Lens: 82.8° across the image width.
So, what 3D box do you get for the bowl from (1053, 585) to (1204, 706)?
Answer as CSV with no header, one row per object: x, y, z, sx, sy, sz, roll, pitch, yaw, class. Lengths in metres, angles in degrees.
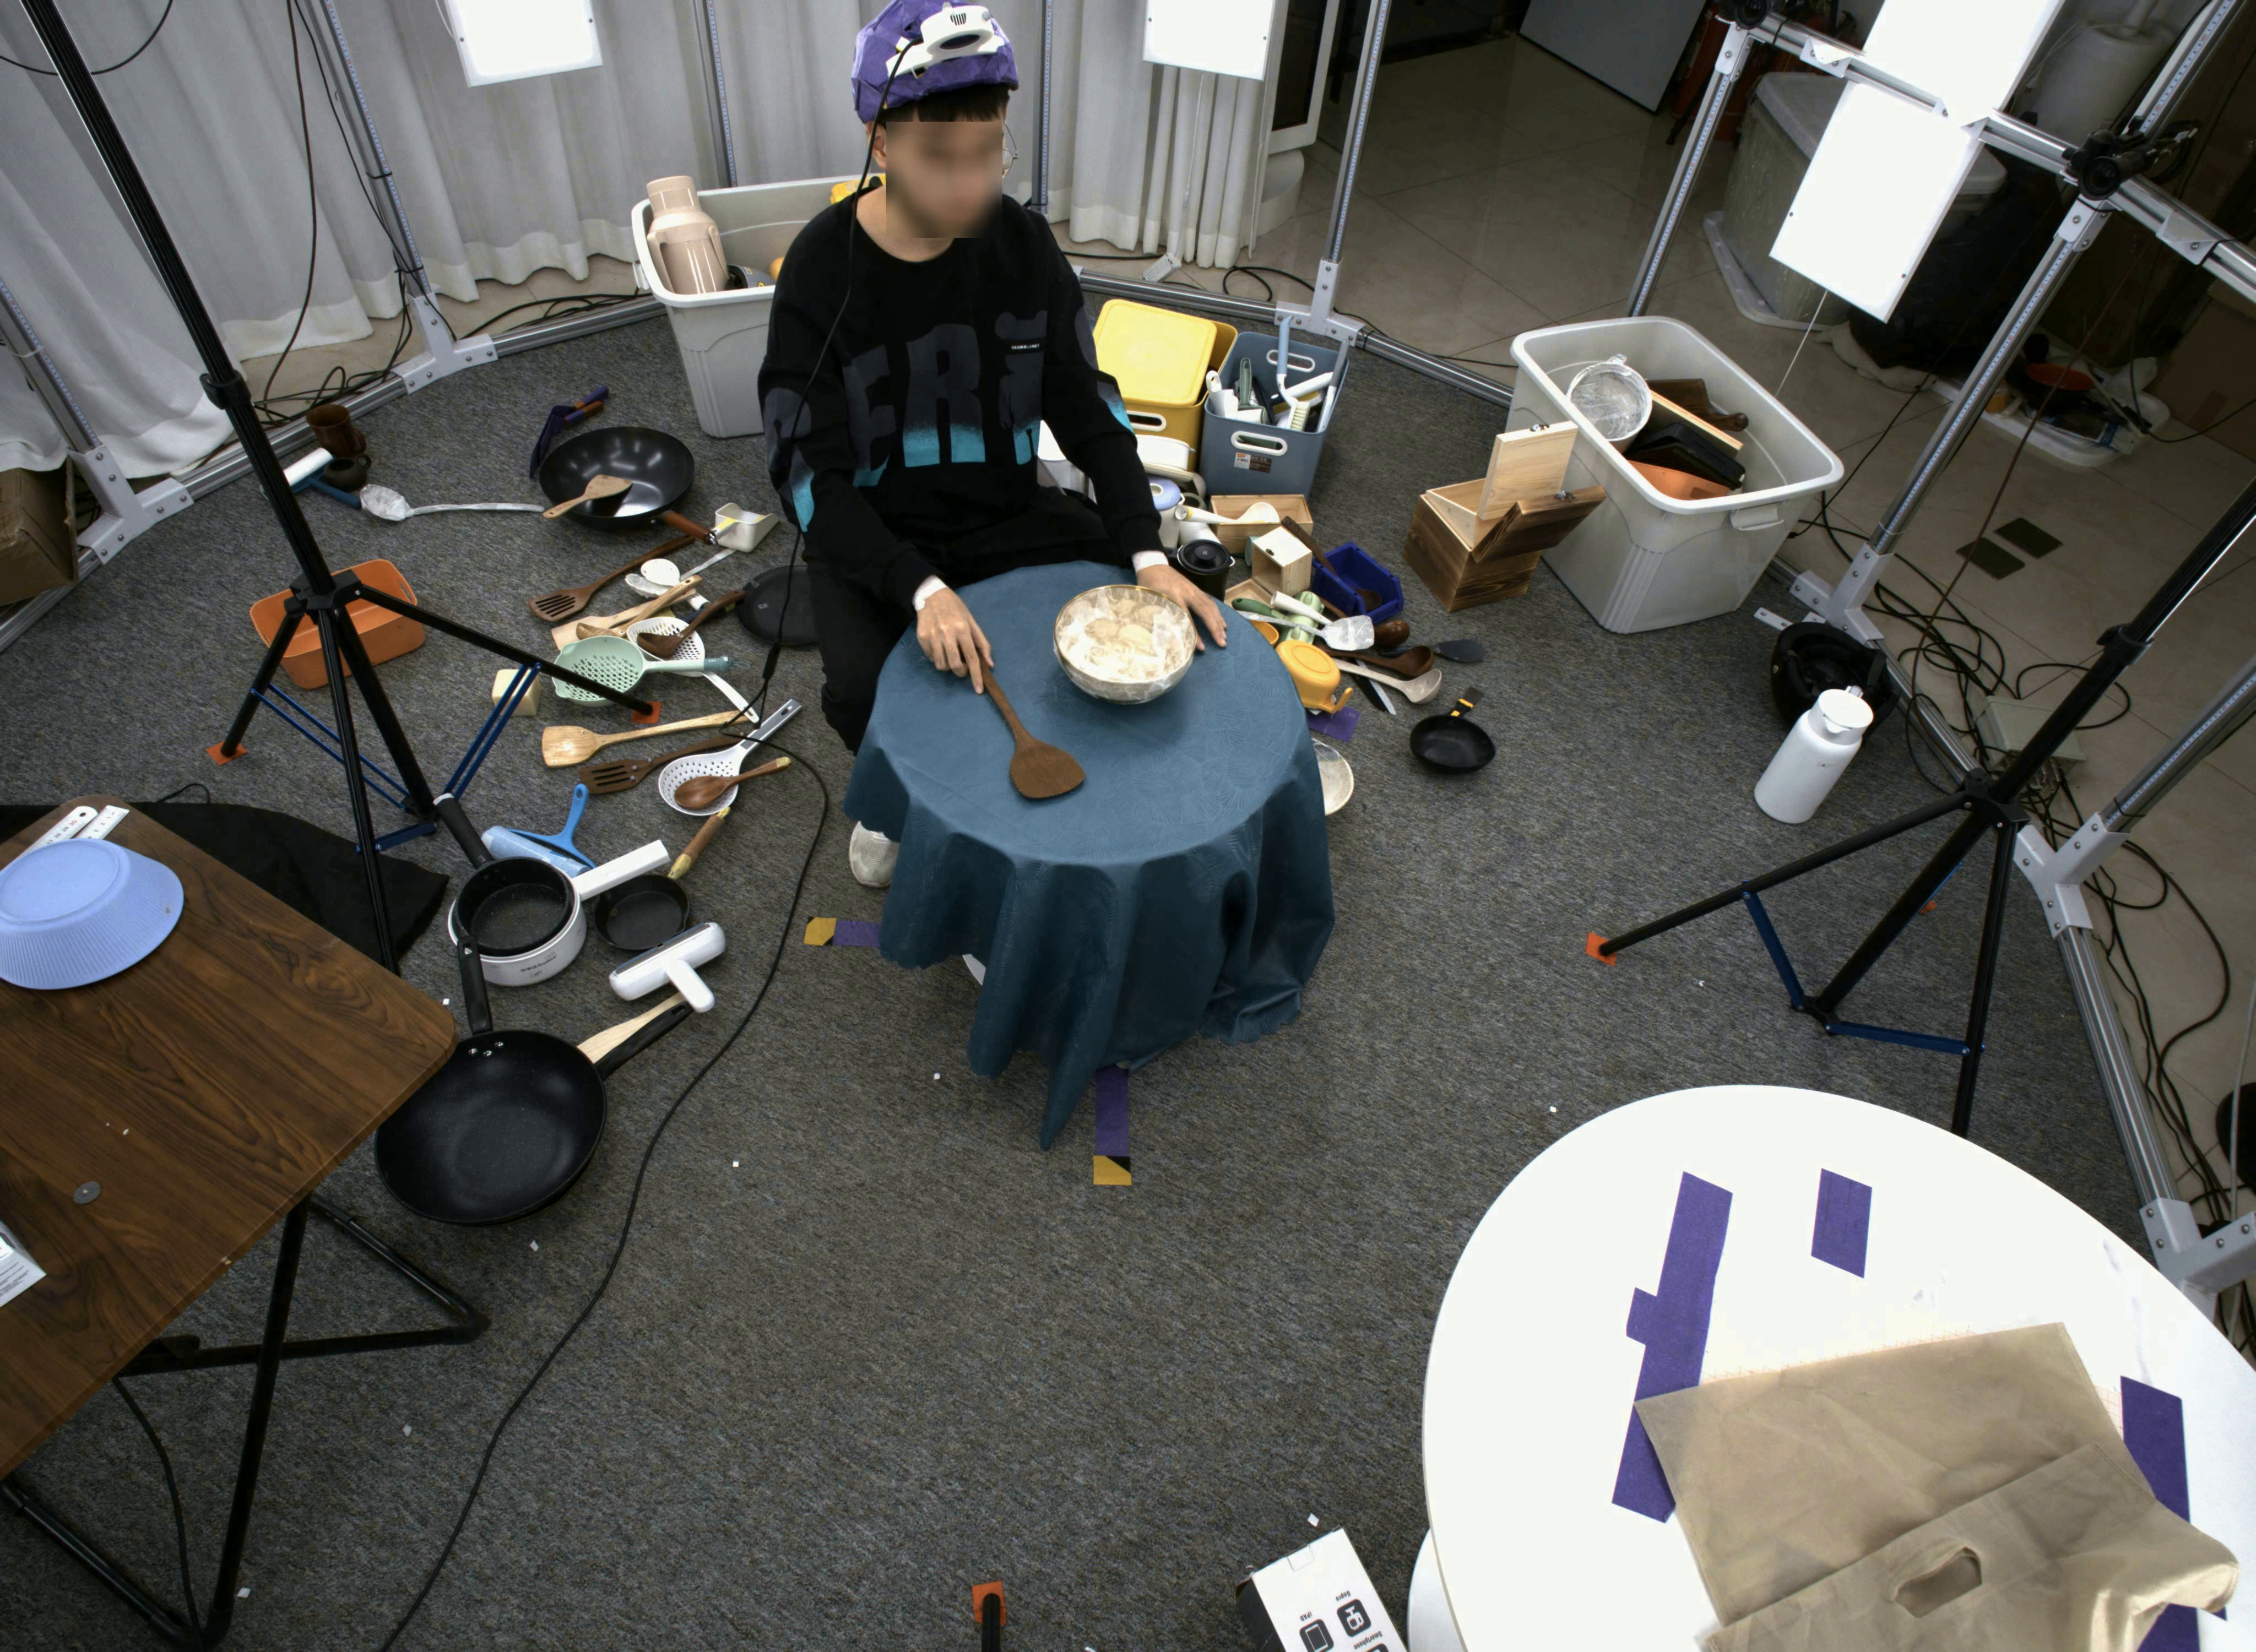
-0.002,-0.243,1.837,0.214,0.092,0.220,0,48,-1,bowl

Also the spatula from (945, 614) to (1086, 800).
-0.178,-0.178,1.813,0.096,0.015,0.394,-19,55,-19,spatula
